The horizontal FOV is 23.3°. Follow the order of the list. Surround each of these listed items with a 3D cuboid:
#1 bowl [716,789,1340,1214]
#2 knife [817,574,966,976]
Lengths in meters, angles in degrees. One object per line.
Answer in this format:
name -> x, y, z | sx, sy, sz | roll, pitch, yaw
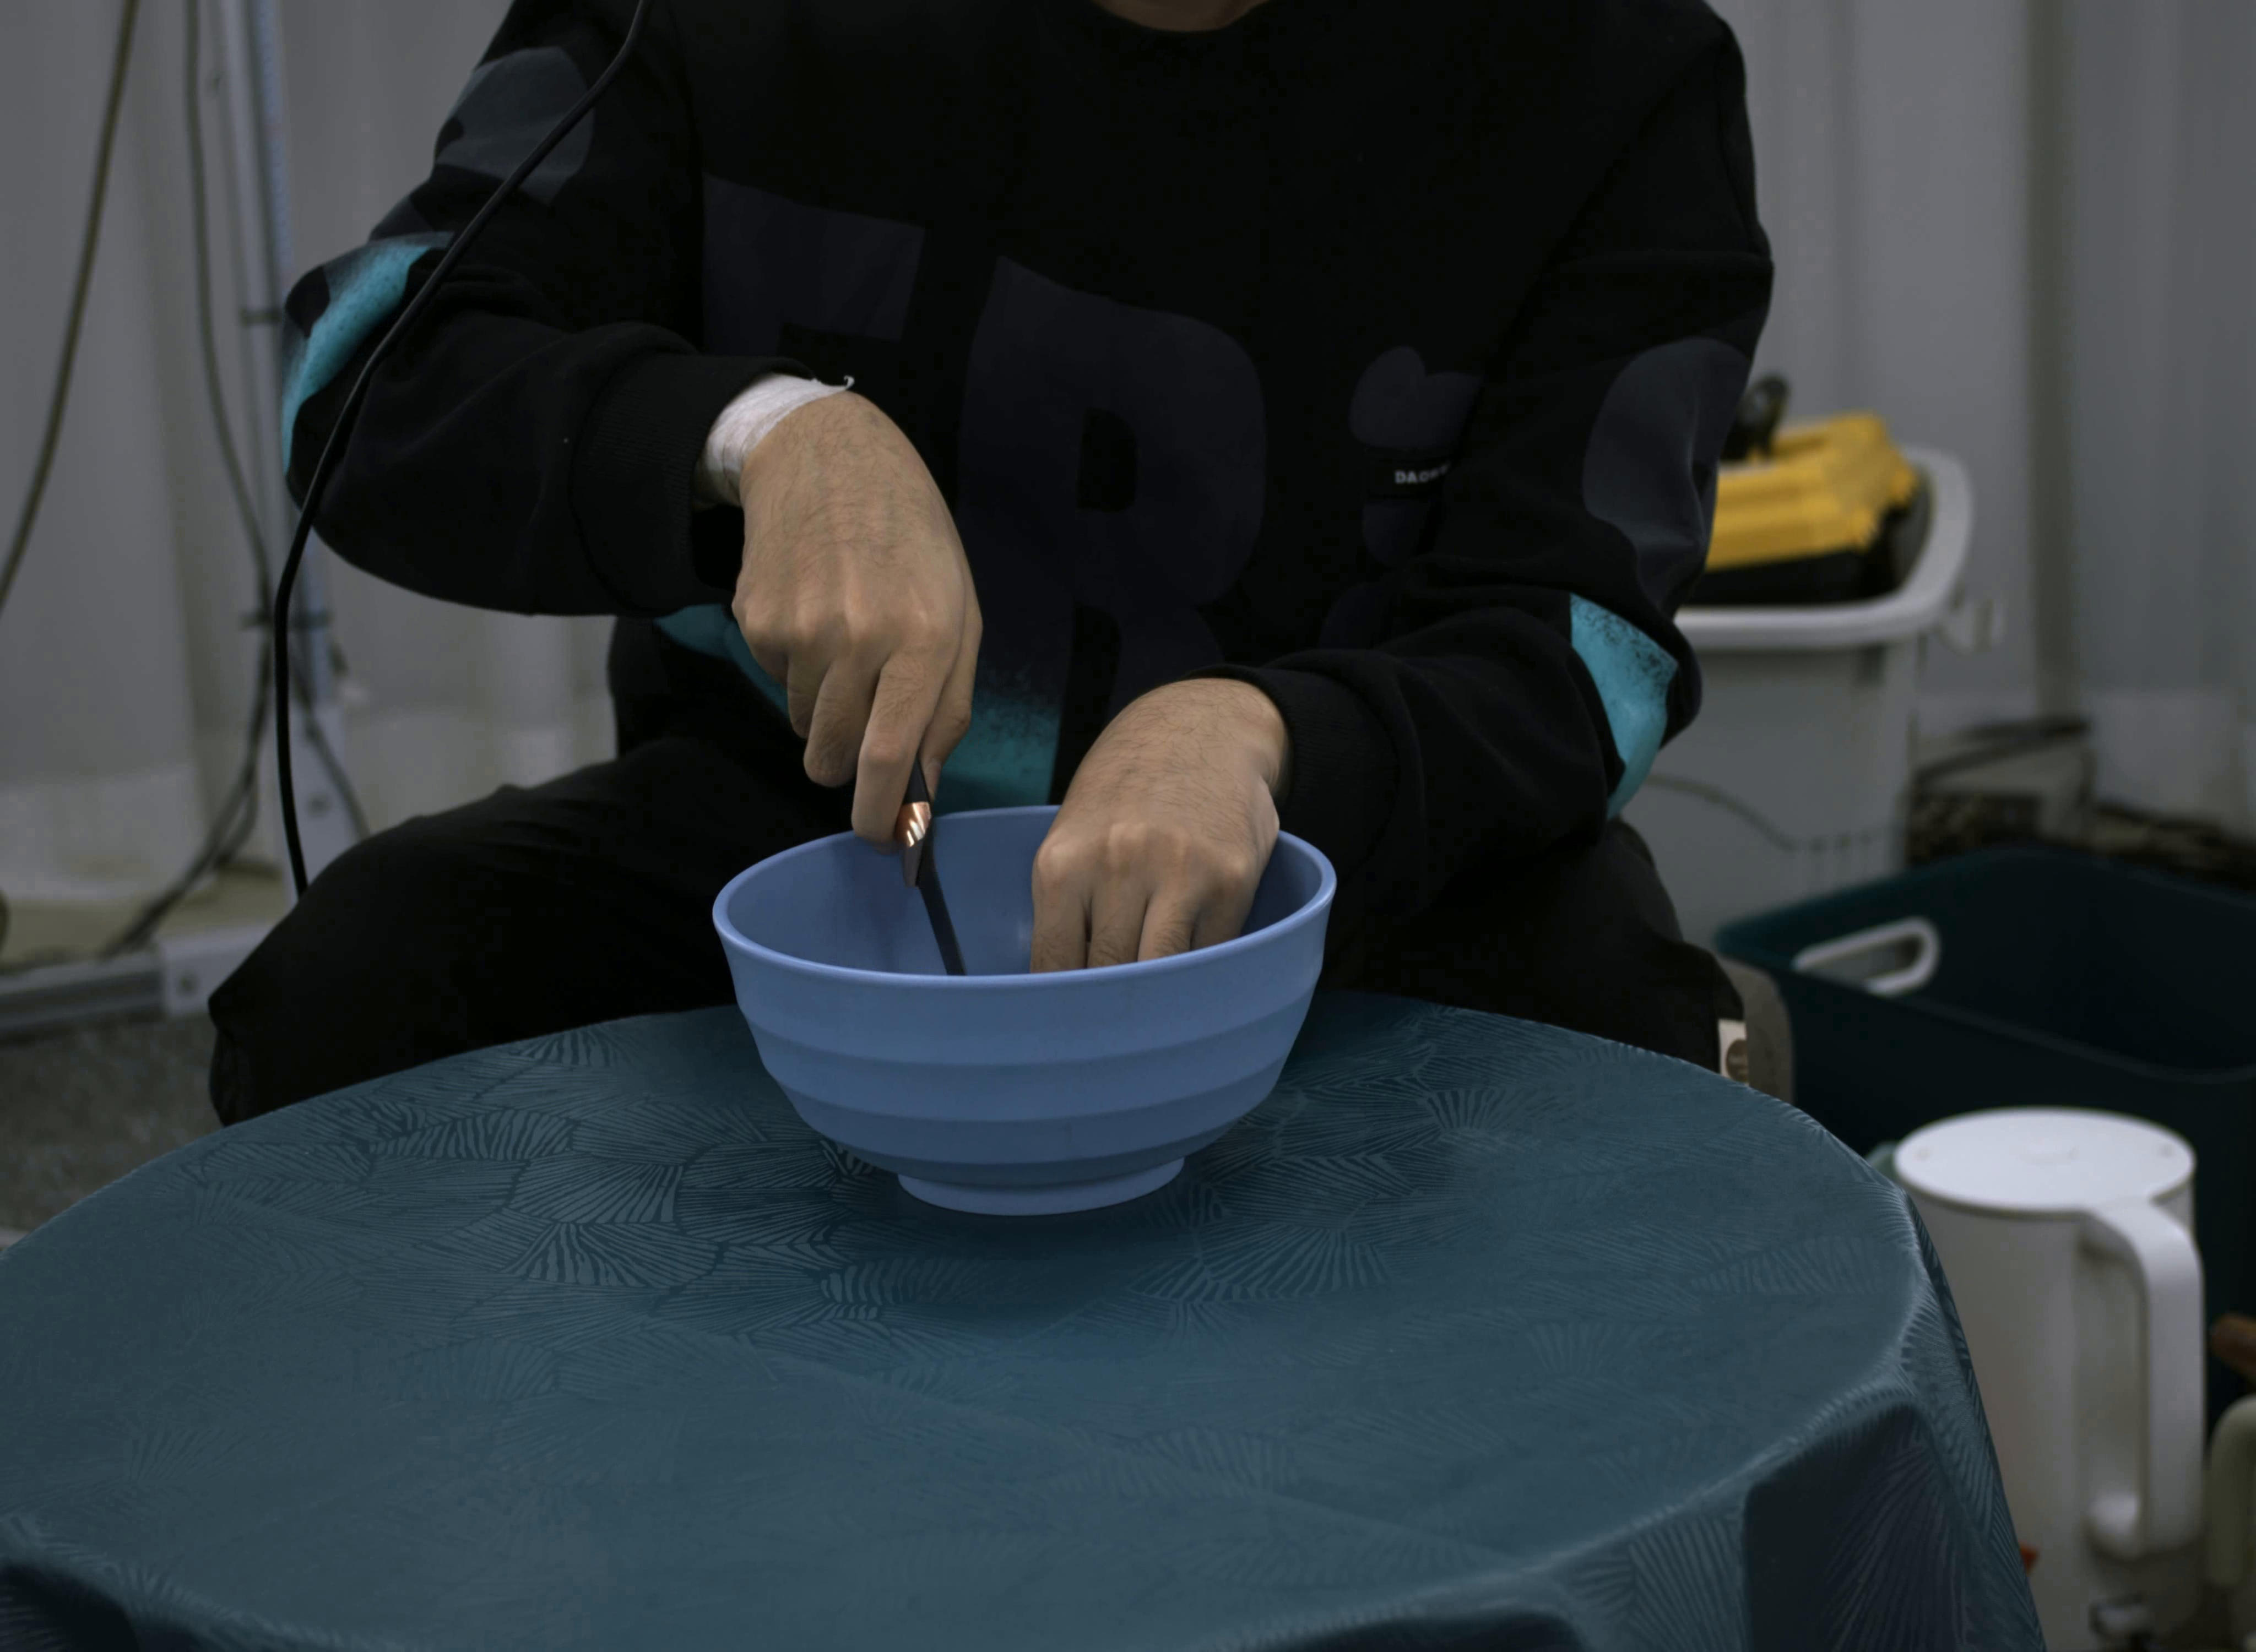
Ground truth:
bowl -> -0.030, 0.062, 1.726 | 0.196, 0.095, 0.198 | -2, 18, 0
knife -> -0.067, 0.015, 1.771 | 0.017, 0.026, 0.229 | -6, 59, -21
